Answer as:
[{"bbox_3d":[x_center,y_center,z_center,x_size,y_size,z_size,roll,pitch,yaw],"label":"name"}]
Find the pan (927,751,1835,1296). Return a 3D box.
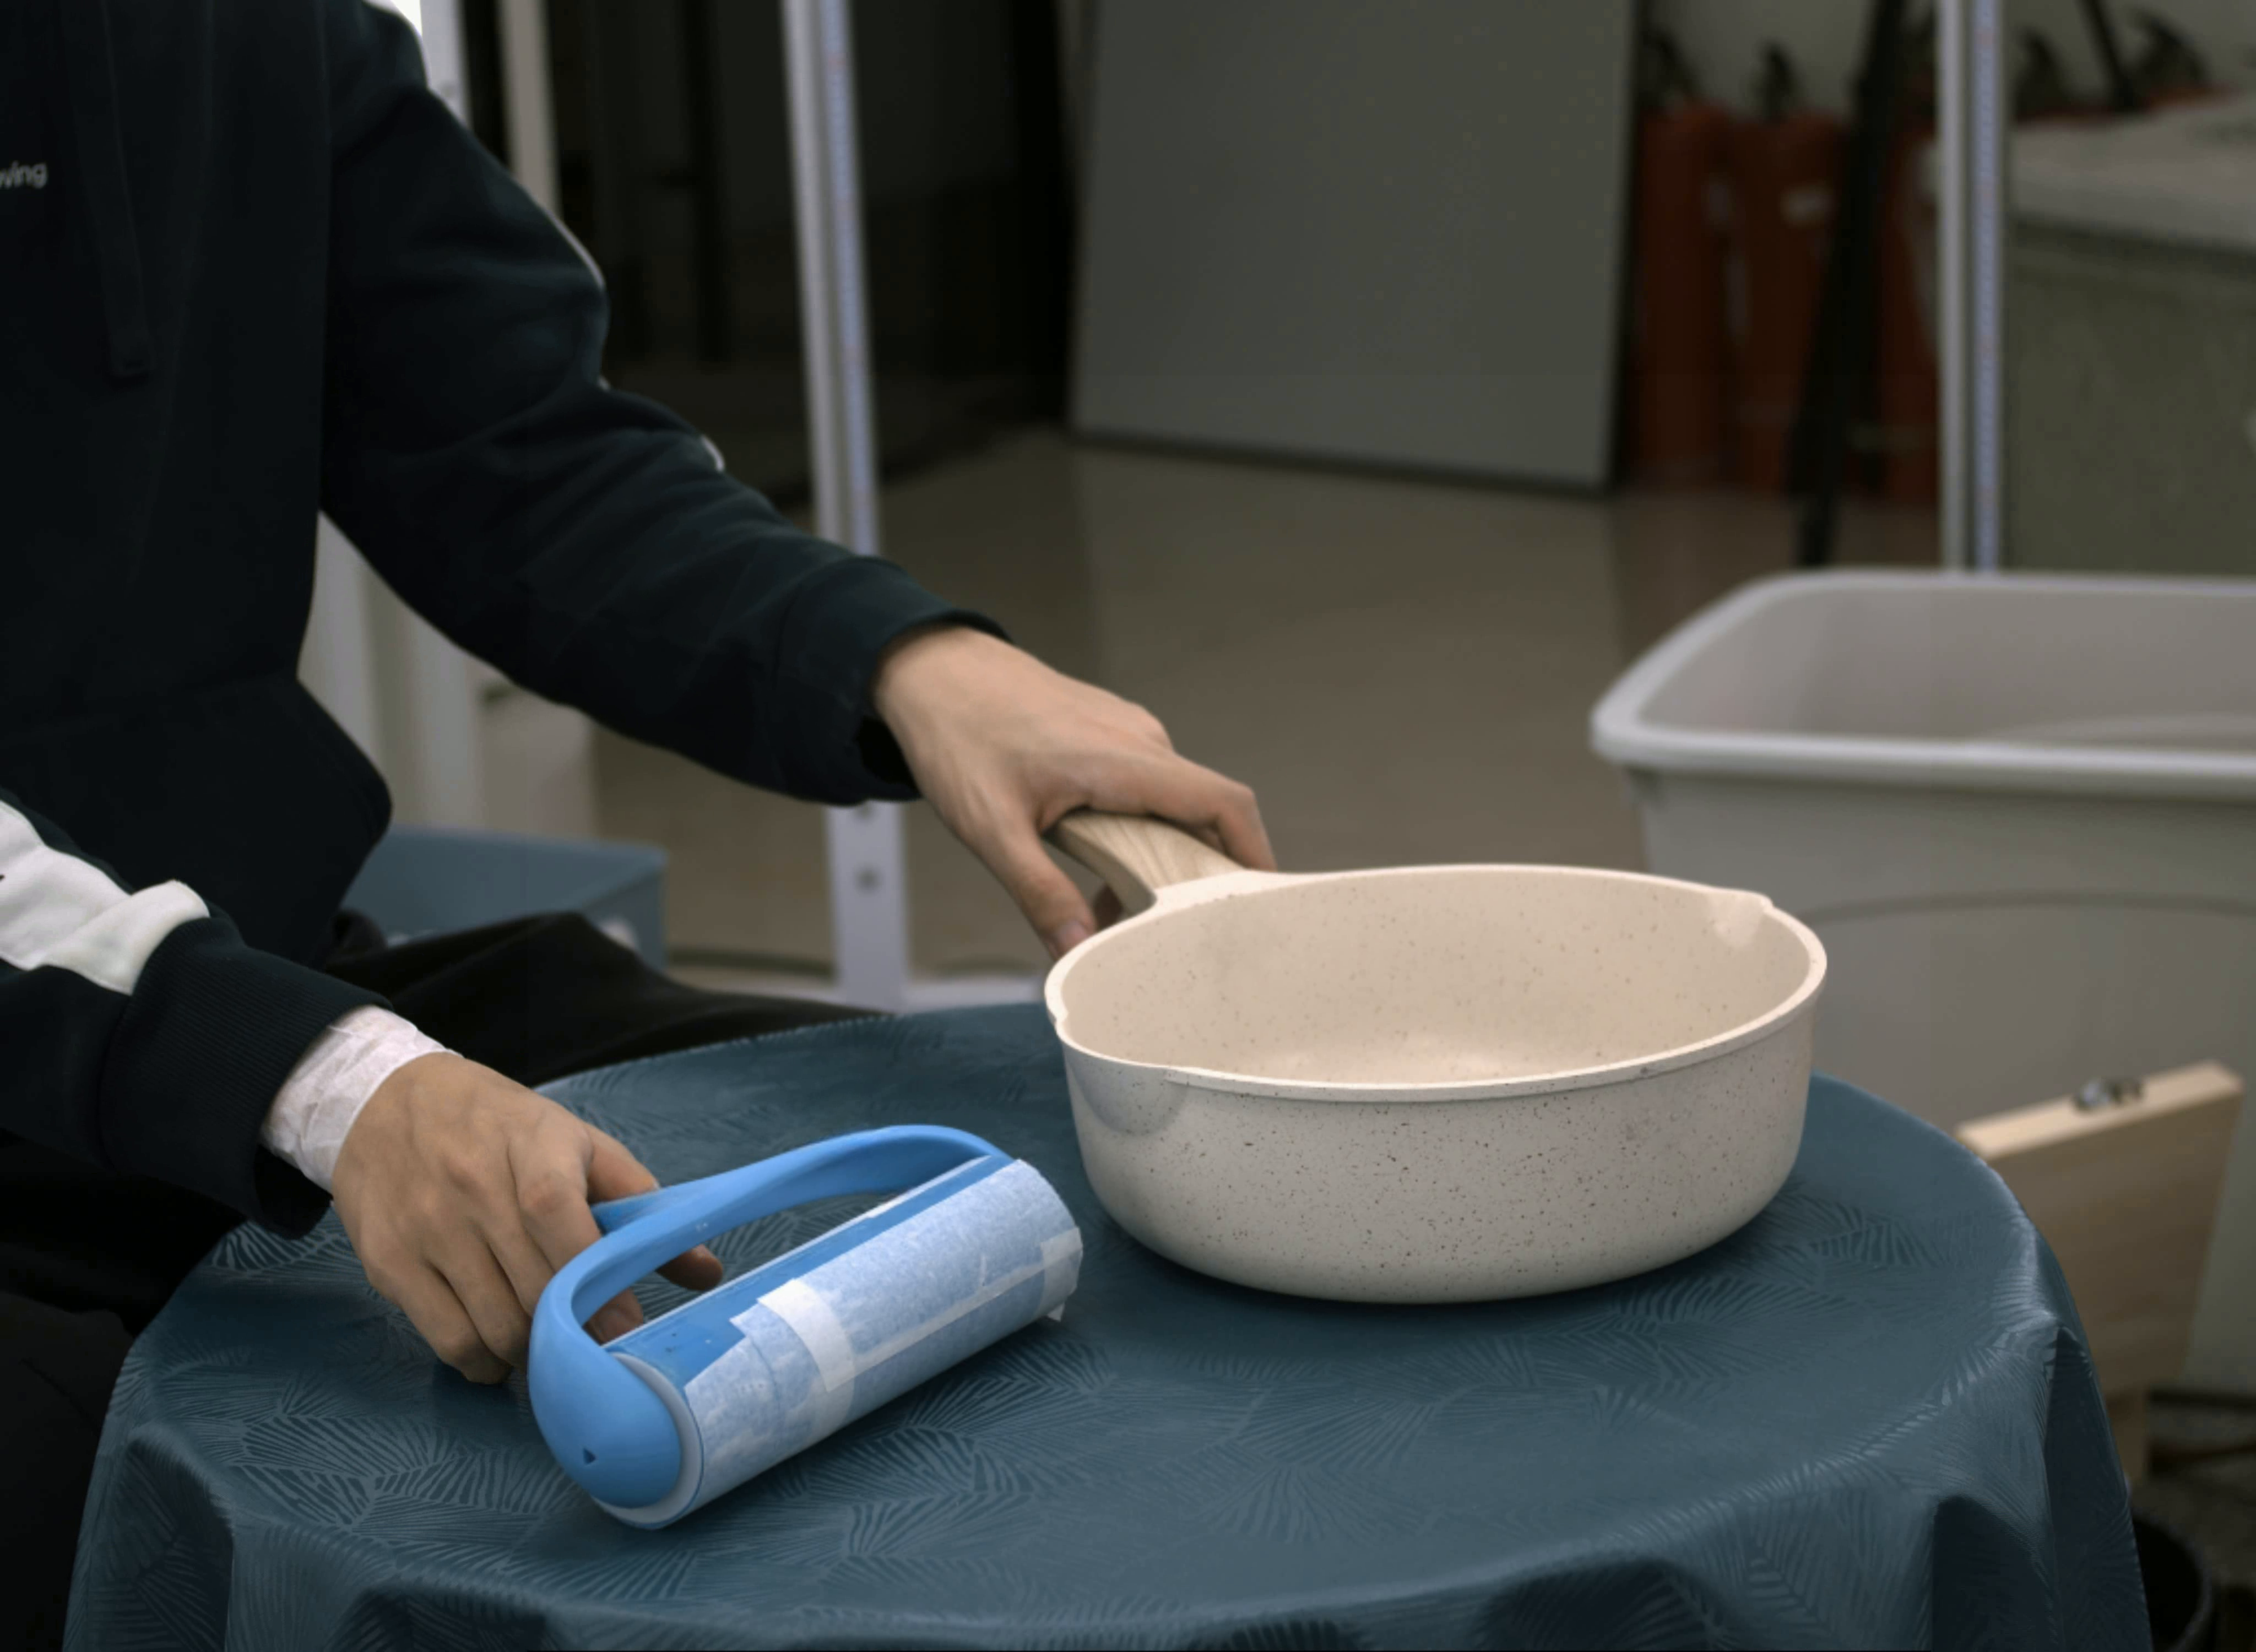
[{"bbox_3d":[0.055,0.058,1.799,0.258,0.103,0.439,-13,16,-29],"label":"pan"}]

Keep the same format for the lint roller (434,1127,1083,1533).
[{"bbox_3d":[-0.136,0.142,1.606,0.181,0.068,0.225,6,18,30],"label":"lint roller"}]
